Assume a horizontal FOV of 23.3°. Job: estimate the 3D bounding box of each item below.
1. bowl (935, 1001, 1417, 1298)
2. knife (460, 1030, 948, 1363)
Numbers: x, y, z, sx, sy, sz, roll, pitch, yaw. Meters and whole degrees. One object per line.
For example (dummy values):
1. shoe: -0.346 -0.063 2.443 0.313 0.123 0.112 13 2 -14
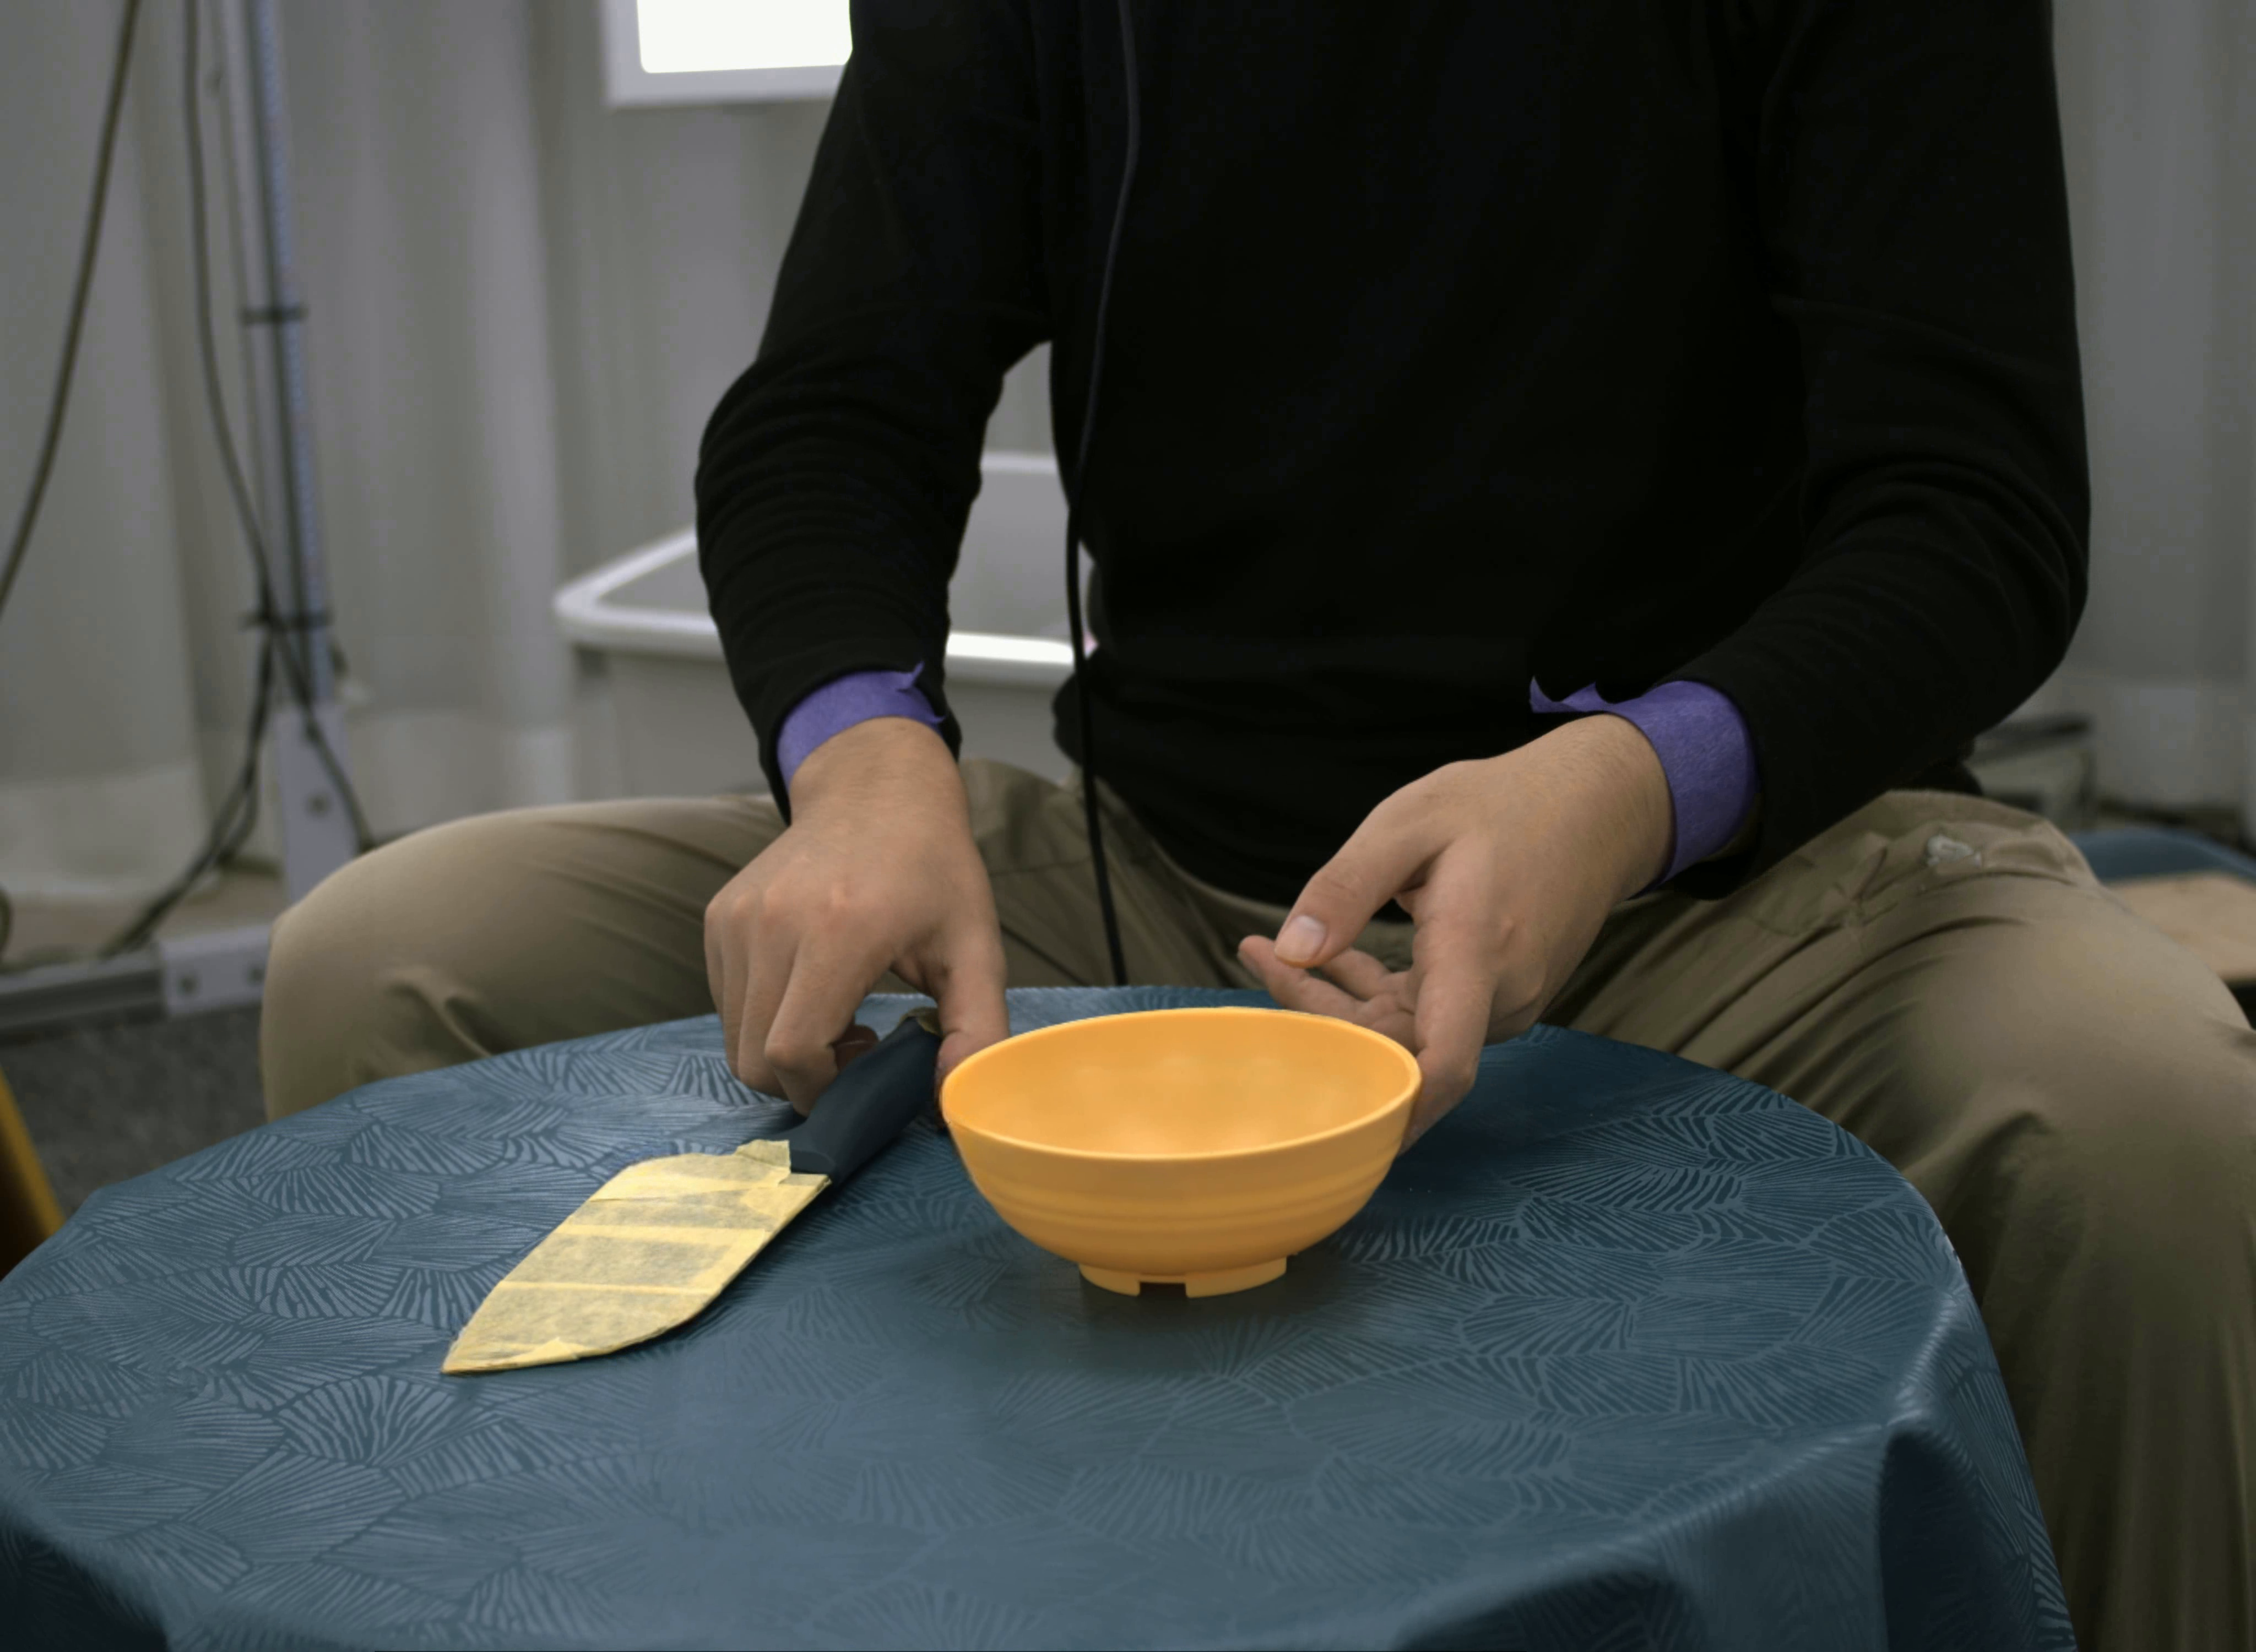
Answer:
1. bowl: 0.015 0.103 1.642 0.145 0.060 0.146 -1 16 0
2. knife: -0.128 0.116 1.710 0.081 0.027 0.290 4 17 21
